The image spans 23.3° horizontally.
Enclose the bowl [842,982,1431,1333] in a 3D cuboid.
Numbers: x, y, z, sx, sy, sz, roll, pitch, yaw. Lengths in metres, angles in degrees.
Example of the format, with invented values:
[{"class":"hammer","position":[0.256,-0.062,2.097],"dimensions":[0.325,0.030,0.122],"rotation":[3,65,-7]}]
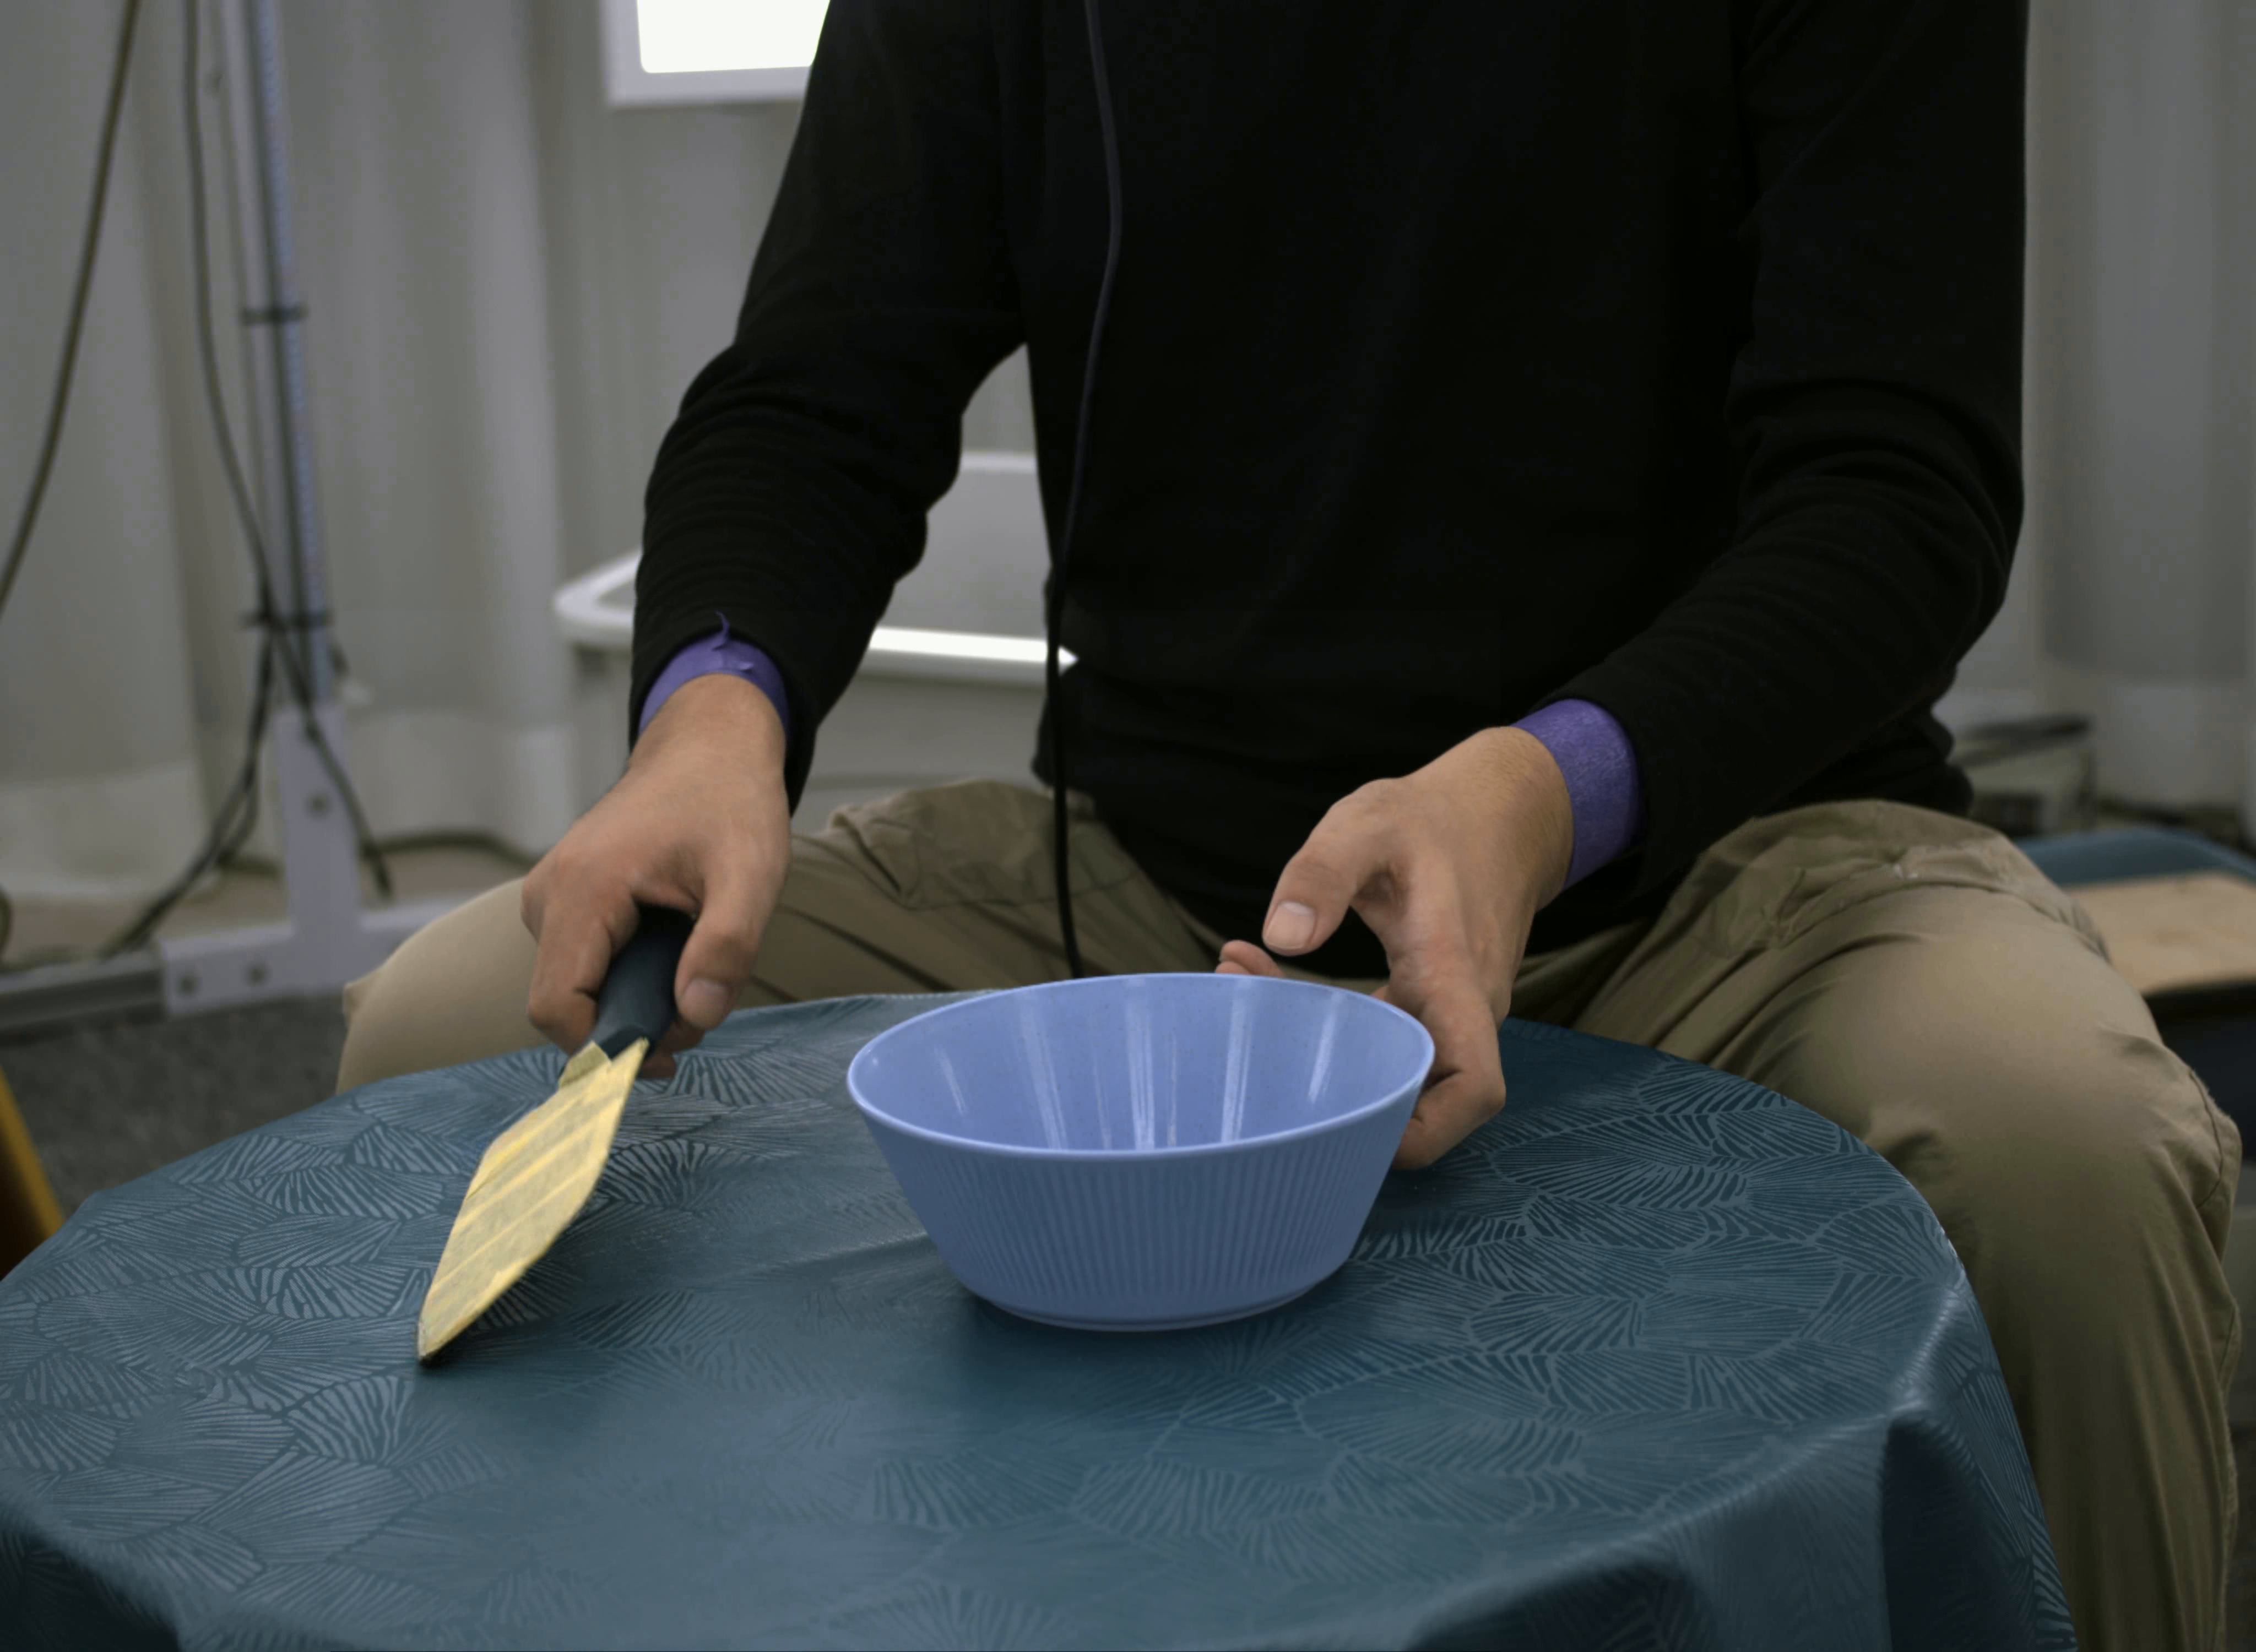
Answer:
[{"class":"bowl","position":[0.004,0.101,1.633],"dimensions":[0.175,0.070,0.177],"rotation":[-3,15,1]}]

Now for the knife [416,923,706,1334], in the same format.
[{"class":"knife","position":[-0.176,0.093,1.718],"dimensions":[0.081,0.027,0.292],"rotation":[-32,13,16]}]
